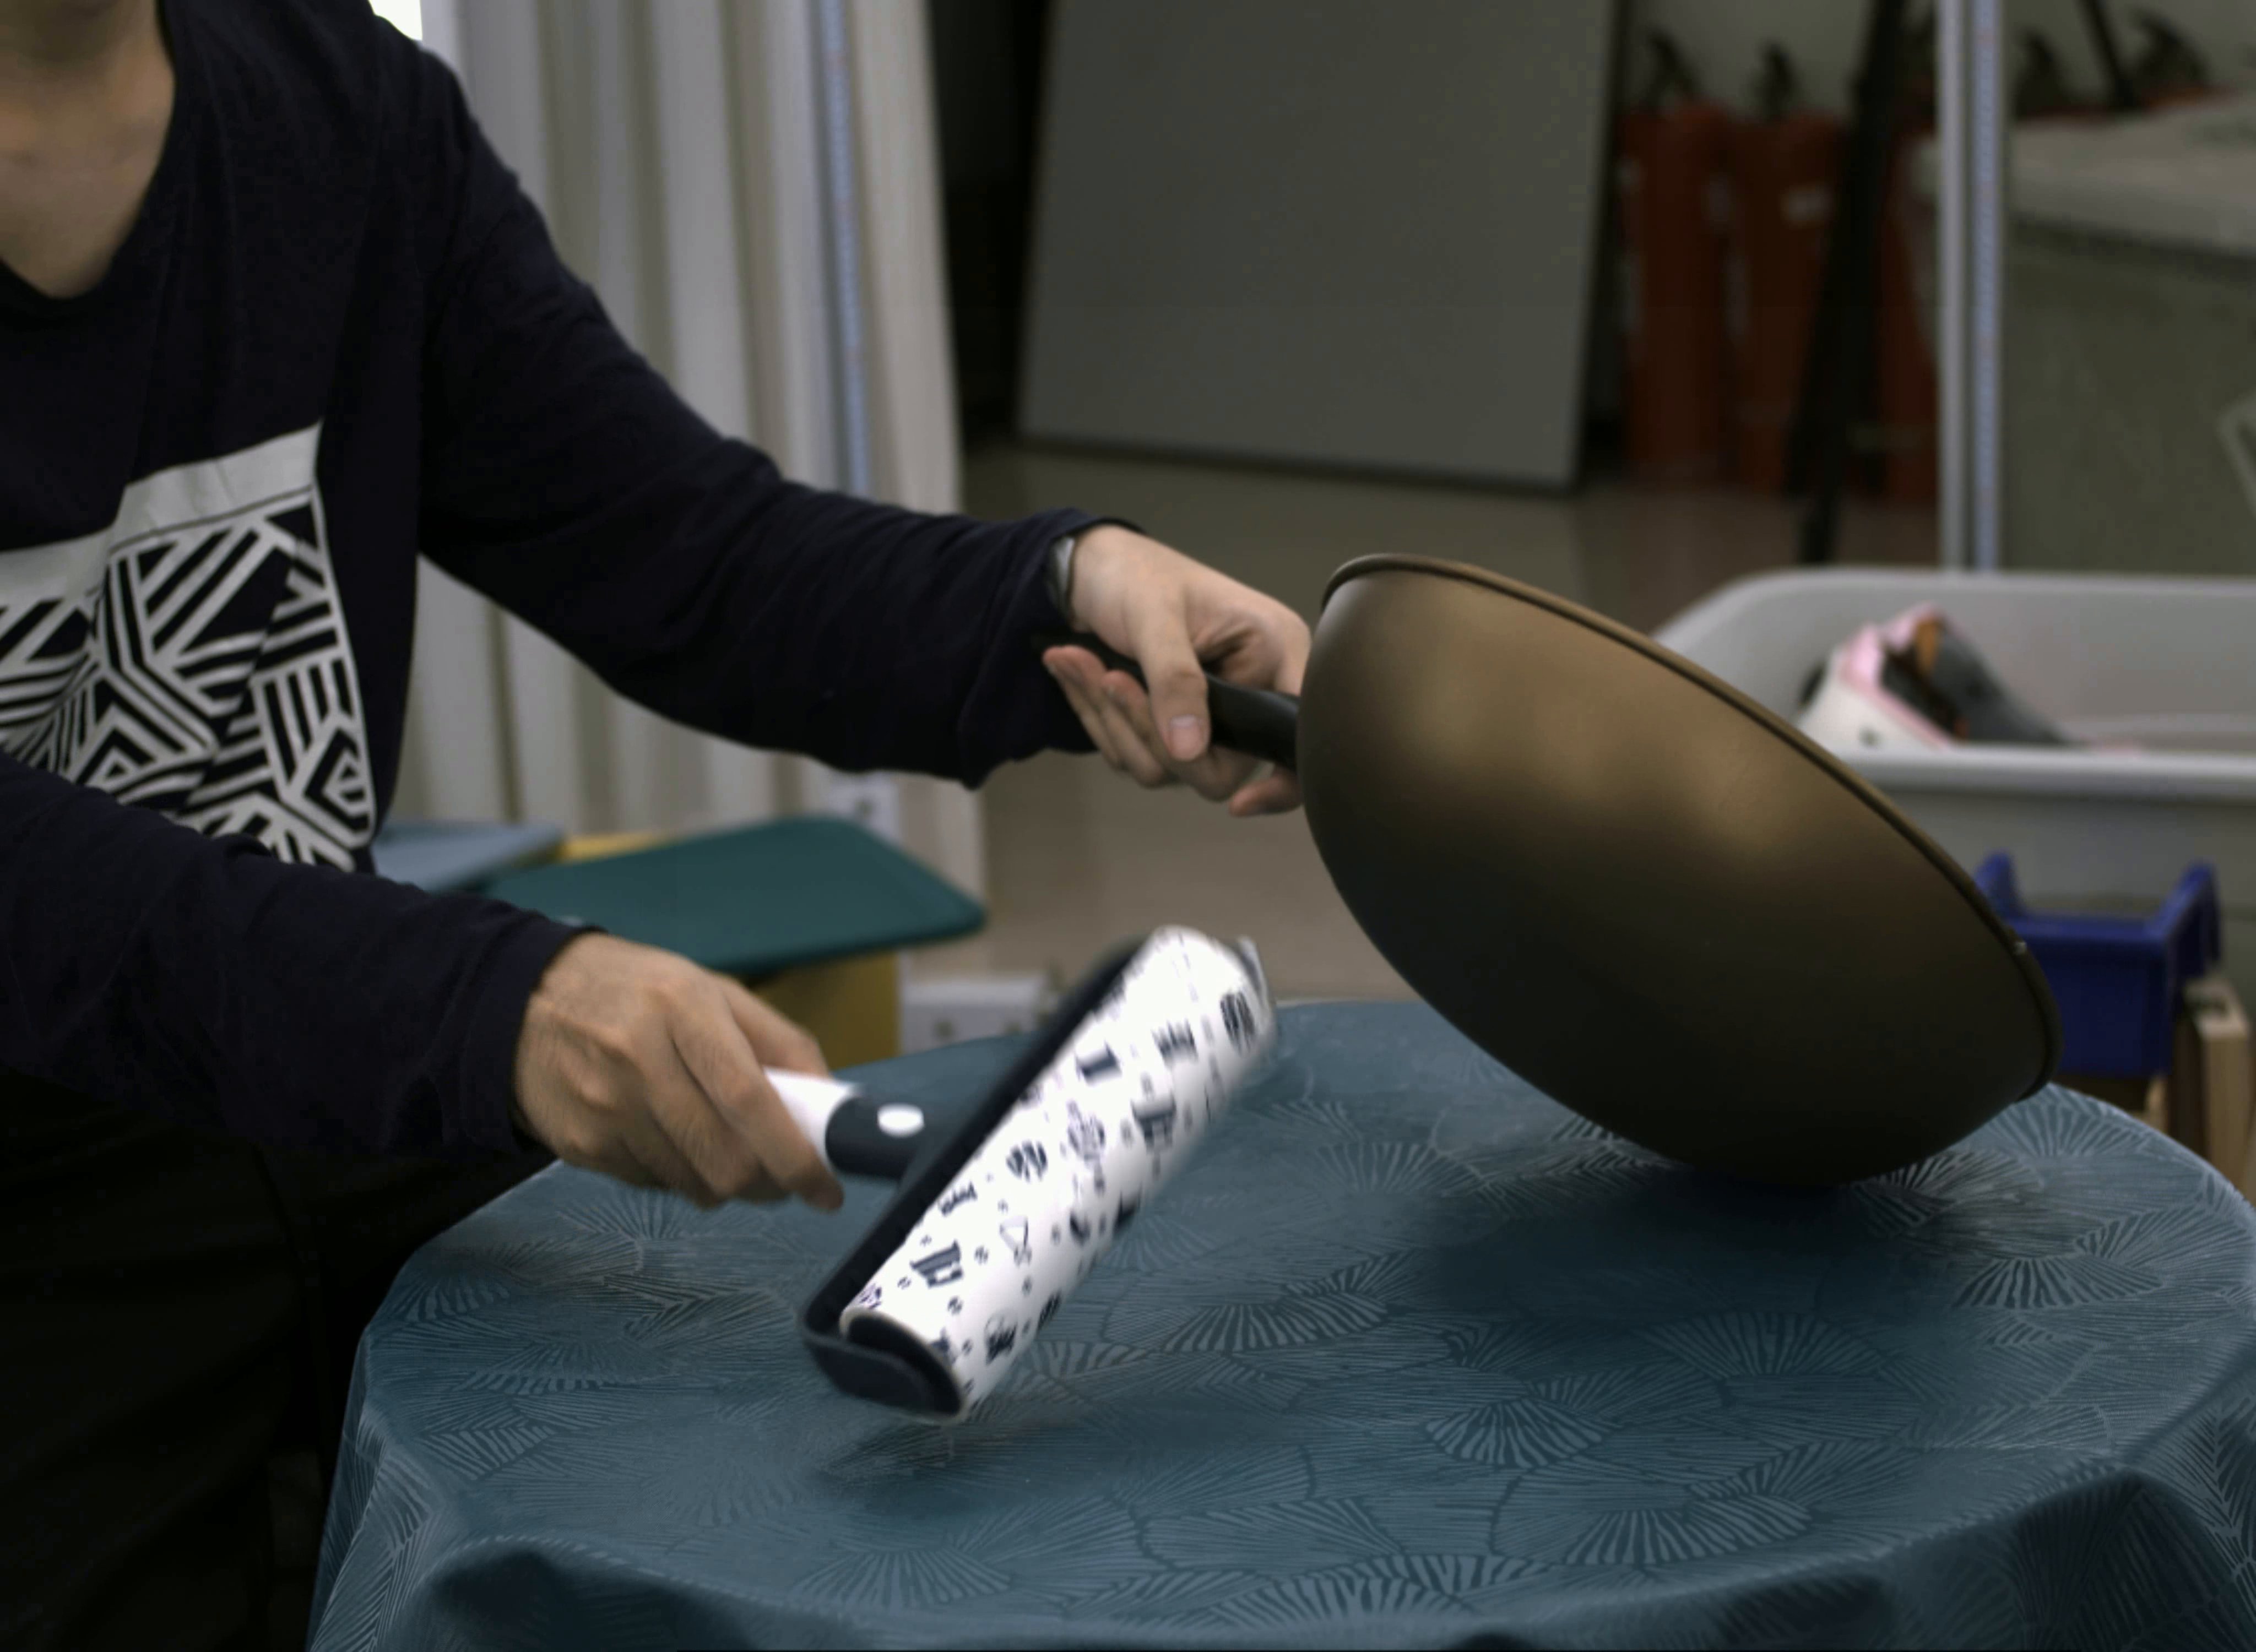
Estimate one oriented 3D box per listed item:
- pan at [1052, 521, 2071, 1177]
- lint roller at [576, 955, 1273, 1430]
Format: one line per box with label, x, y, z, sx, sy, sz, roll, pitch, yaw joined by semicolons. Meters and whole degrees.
pan;0.099;0.009;1.762;0.468;0.285;0.087;16;64;50
lint roller;-0.091;0.098;1.640;0.249;0.050;0.175;6;43;45
